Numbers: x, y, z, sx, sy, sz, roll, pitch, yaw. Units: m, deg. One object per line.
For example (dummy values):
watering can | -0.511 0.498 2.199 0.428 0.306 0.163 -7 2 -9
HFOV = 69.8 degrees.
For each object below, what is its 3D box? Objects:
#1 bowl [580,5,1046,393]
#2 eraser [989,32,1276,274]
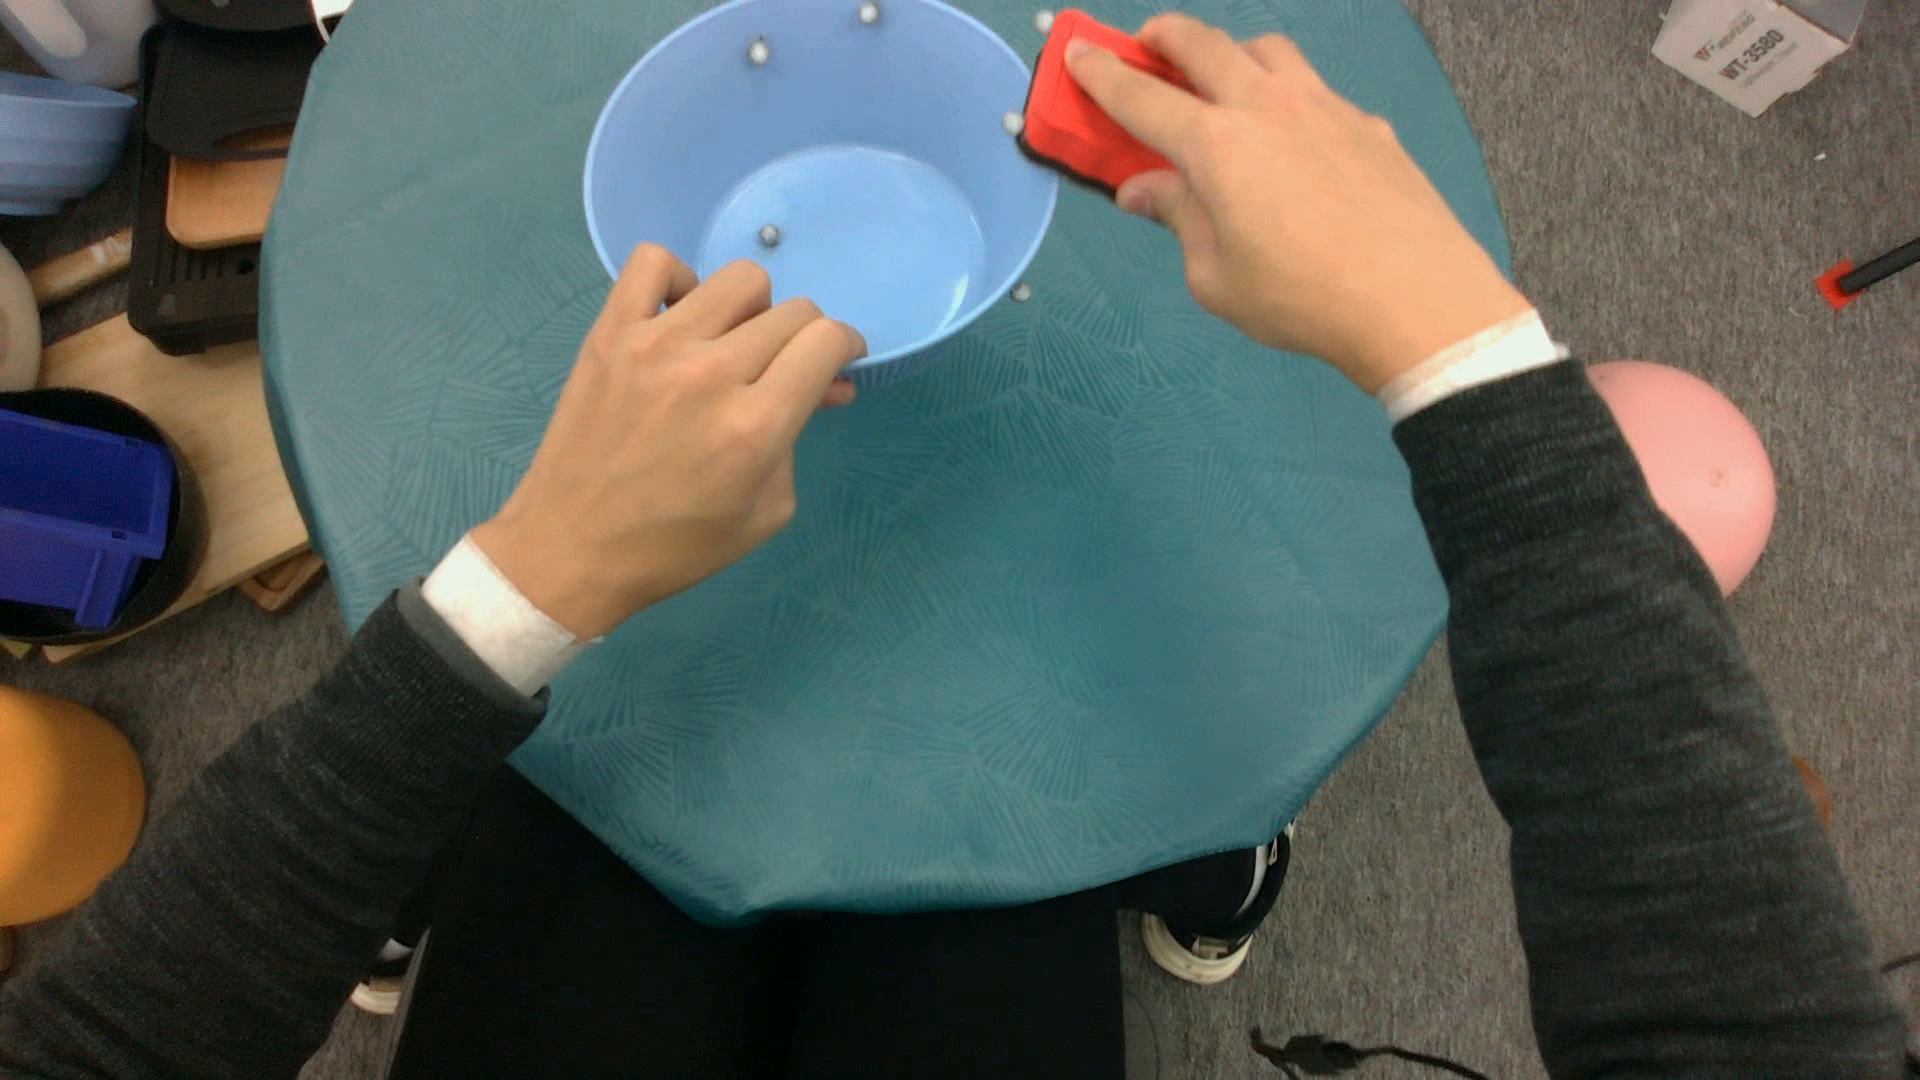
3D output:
bowl | -0.054 -0.124 0.541 0.176 0.070 0.177 -1 62 2
eraser | 0.066 -0.145 0.517 0.108 0.023 0.059 21 58 -14
